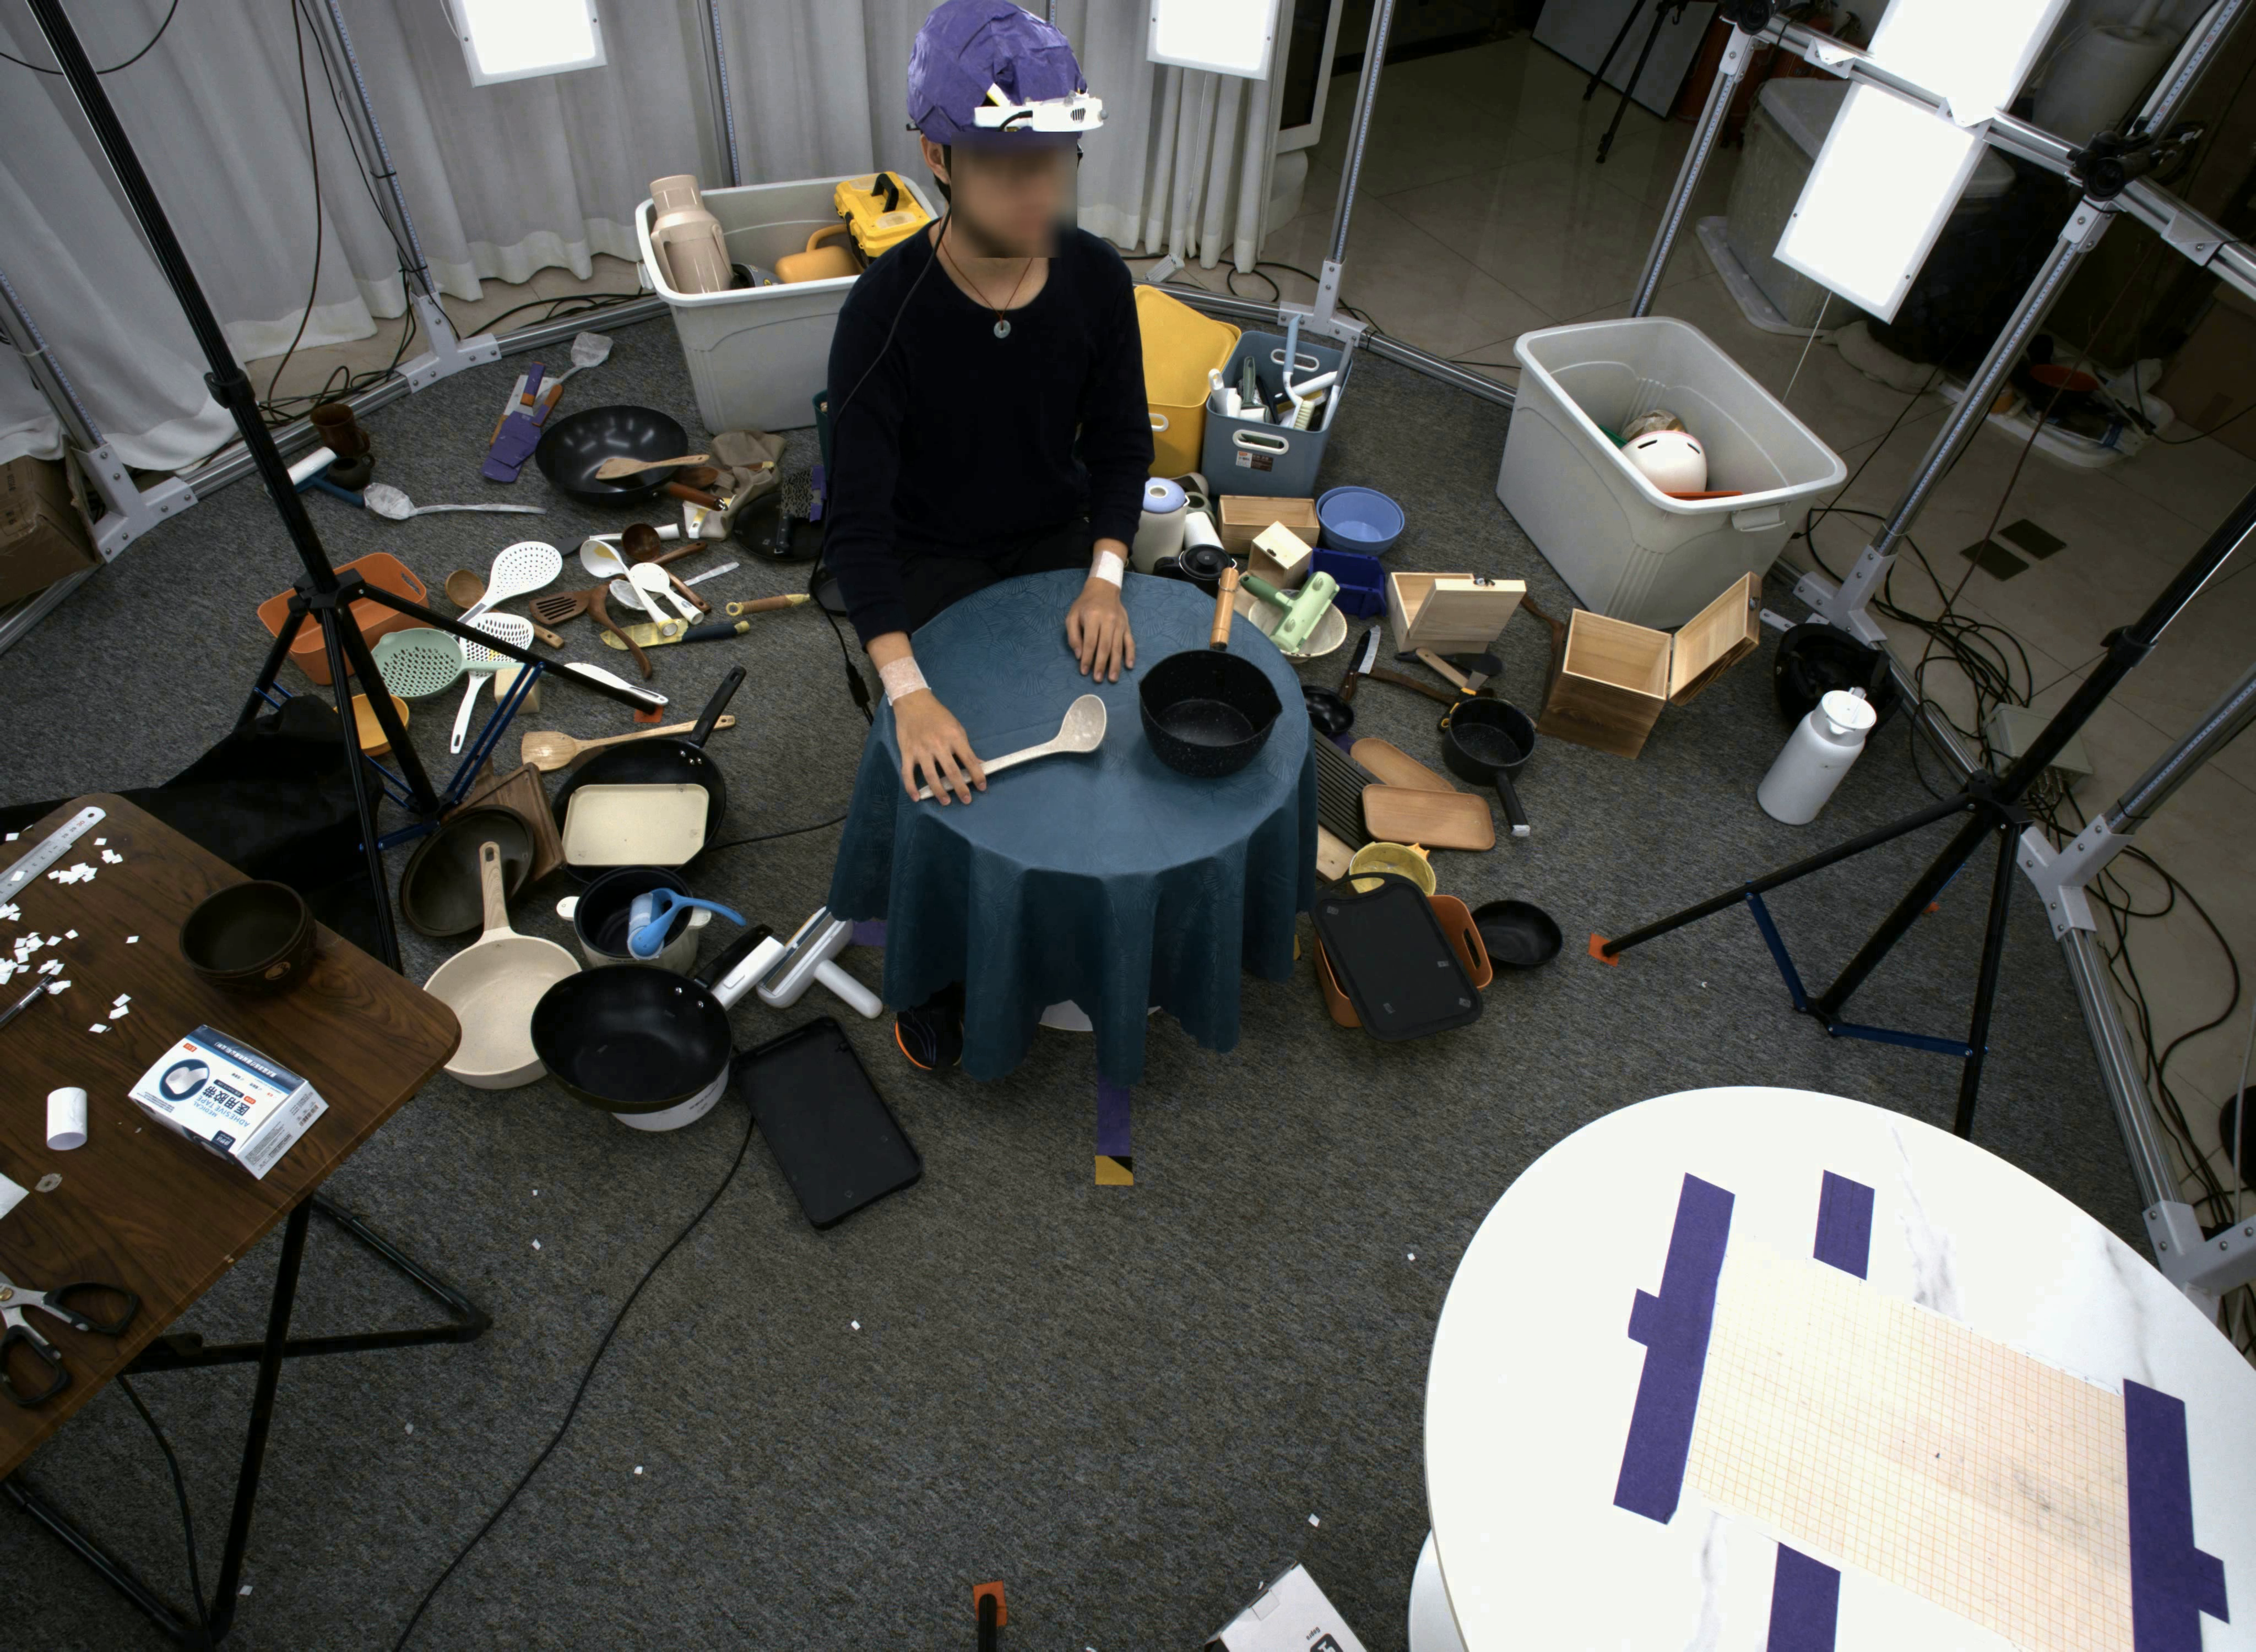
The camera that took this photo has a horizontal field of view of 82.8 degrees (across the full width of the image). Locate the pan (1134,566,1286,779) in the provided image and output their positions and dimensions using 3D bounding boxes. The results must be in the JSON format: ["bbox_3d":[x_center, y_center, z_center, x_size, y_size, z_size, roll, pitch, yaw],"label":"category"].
[{"bbox_3d":[0.118,-0.216,1.794,0.207,0.105,0.351,7,50,4],"label":"pan"}]

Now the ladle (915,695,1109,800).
[{"bbox_3d":[-0.154,-0.103,1.703,0.275,0.068,0.091,-19,51,-20],"label":"ladle"}]
